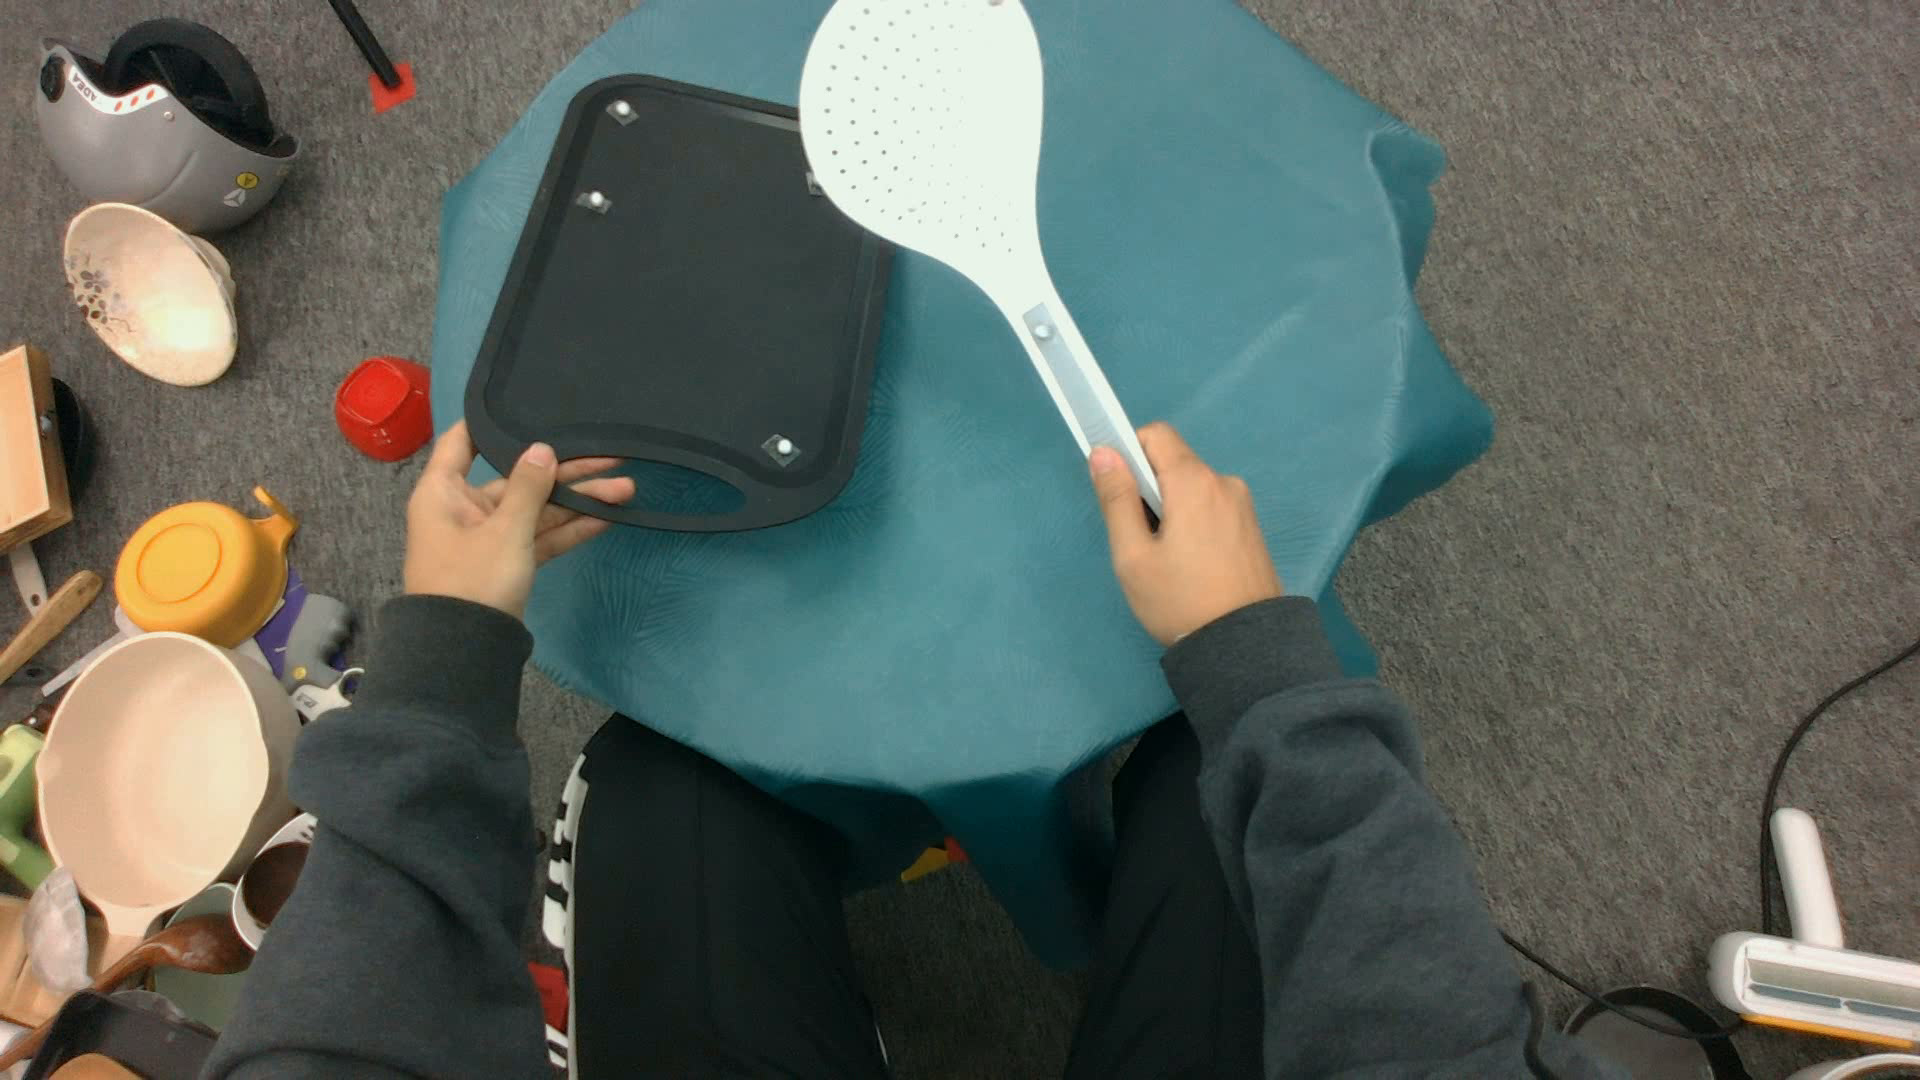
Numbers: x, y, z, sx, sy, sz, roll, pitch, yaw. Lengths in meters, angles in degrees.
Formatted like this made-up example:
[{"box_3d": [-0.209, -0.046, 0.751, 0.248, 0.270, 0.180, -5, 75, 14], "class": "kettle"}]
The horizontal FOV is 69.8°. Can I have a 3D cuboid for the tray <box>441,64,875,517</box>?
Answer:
[{"box_3d": [-0.160, -0.153, 0.789, 0.211, 0.010, 0.327, 11, 57, -7], "class": "tray"}]

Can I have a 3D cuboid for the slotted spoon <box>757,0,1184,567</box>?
[{"box_3d": [0.012, -0.140, 0.700, 0.135, 0.046, 0.350, -34, 79, 28], "class": "slotted spoon"}]
